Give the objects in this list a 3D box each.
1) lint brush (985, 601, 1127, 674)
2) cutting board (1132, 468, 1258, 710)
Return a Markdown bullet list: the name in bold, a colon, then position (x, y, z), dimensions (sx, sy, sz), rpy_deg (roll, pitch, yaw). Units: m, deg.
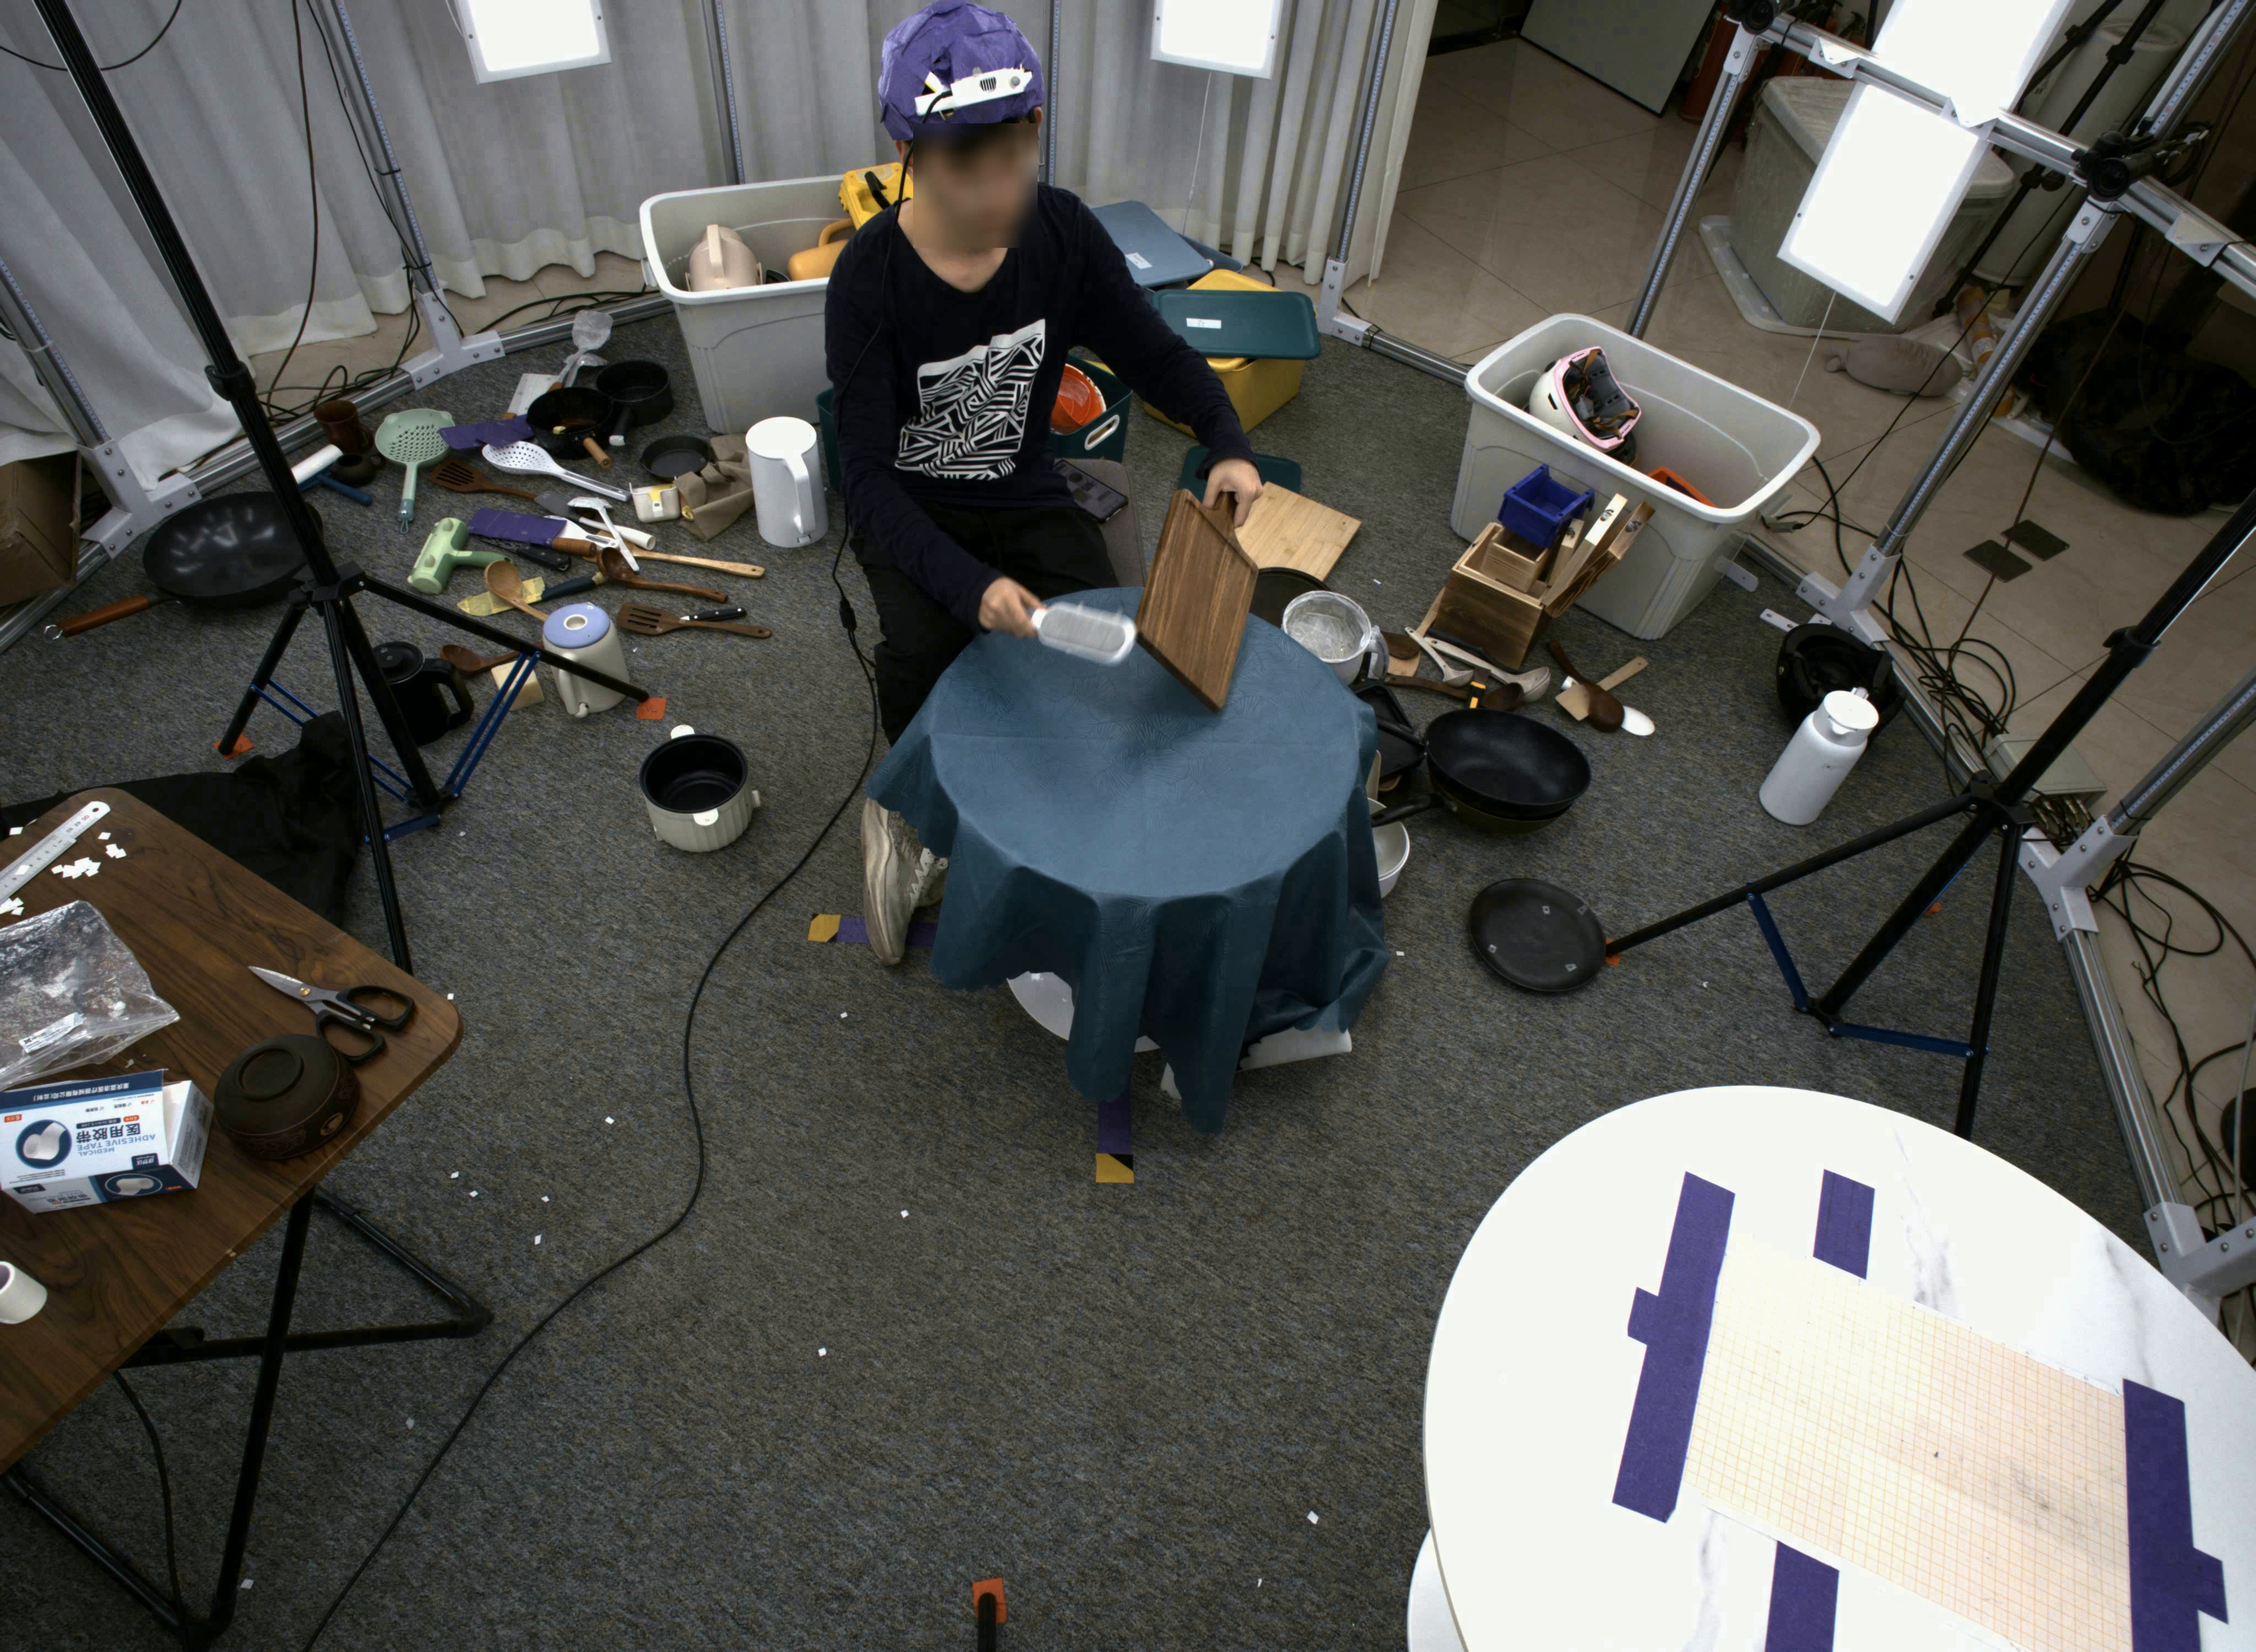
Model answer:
- **lint brush**: position (-0.102, -0.263, 1.726), dimensions (0.020, 0.060, 0.313), rpy_deg (19, 5, -43)
- **cutting board**: position (0.111, -0.360, 1.816), dimensions (0.023, 0.197, 0.358), rpy_deg (-8, 57, 41)
